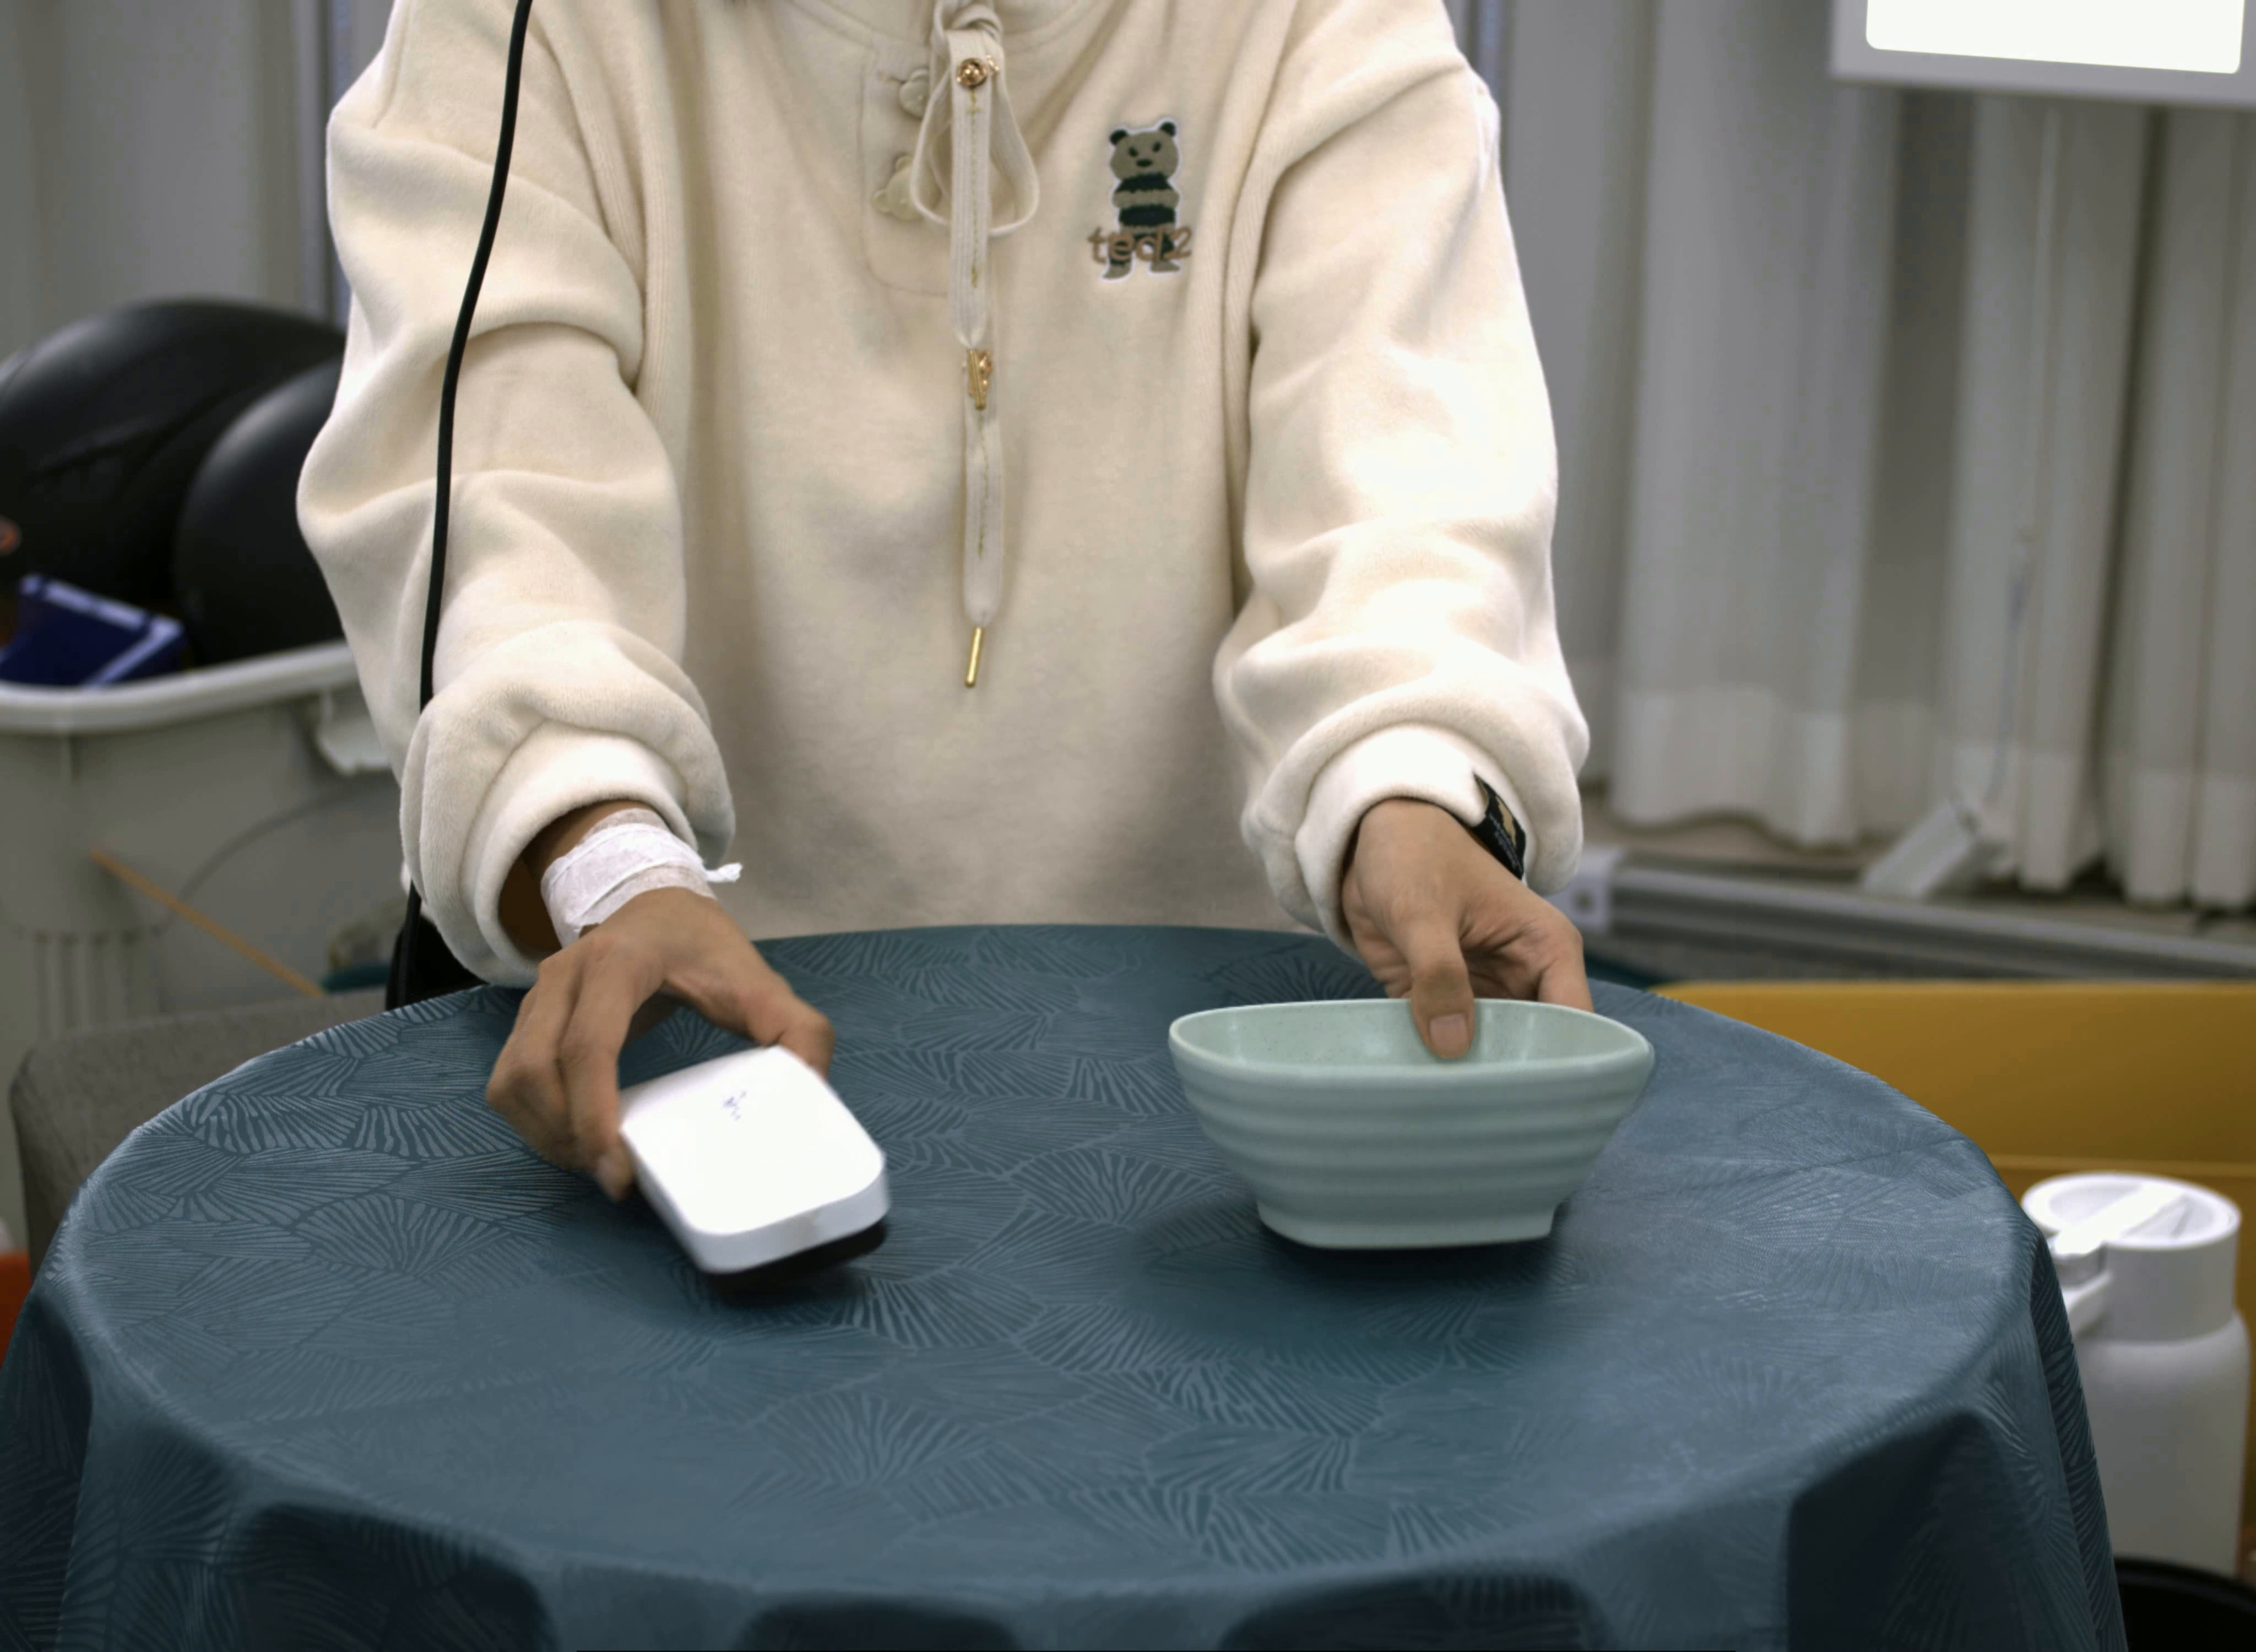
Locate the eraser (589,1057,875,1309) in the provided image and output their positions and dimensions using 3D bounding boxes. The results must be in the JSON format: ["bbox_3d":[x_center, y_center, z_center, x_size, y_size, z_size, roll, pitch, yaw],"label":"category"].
[{"bbox_3d":[-0.117,0.102,1.568,0.063,0.035,0.130,-16,22,-14],"label":"eraser"}]

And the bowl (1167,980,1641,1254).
[{"bbox_3d":[0.080,0.089,1.574,0.151,0.059,0.151,4,10,0],"label":"bowl"}]
